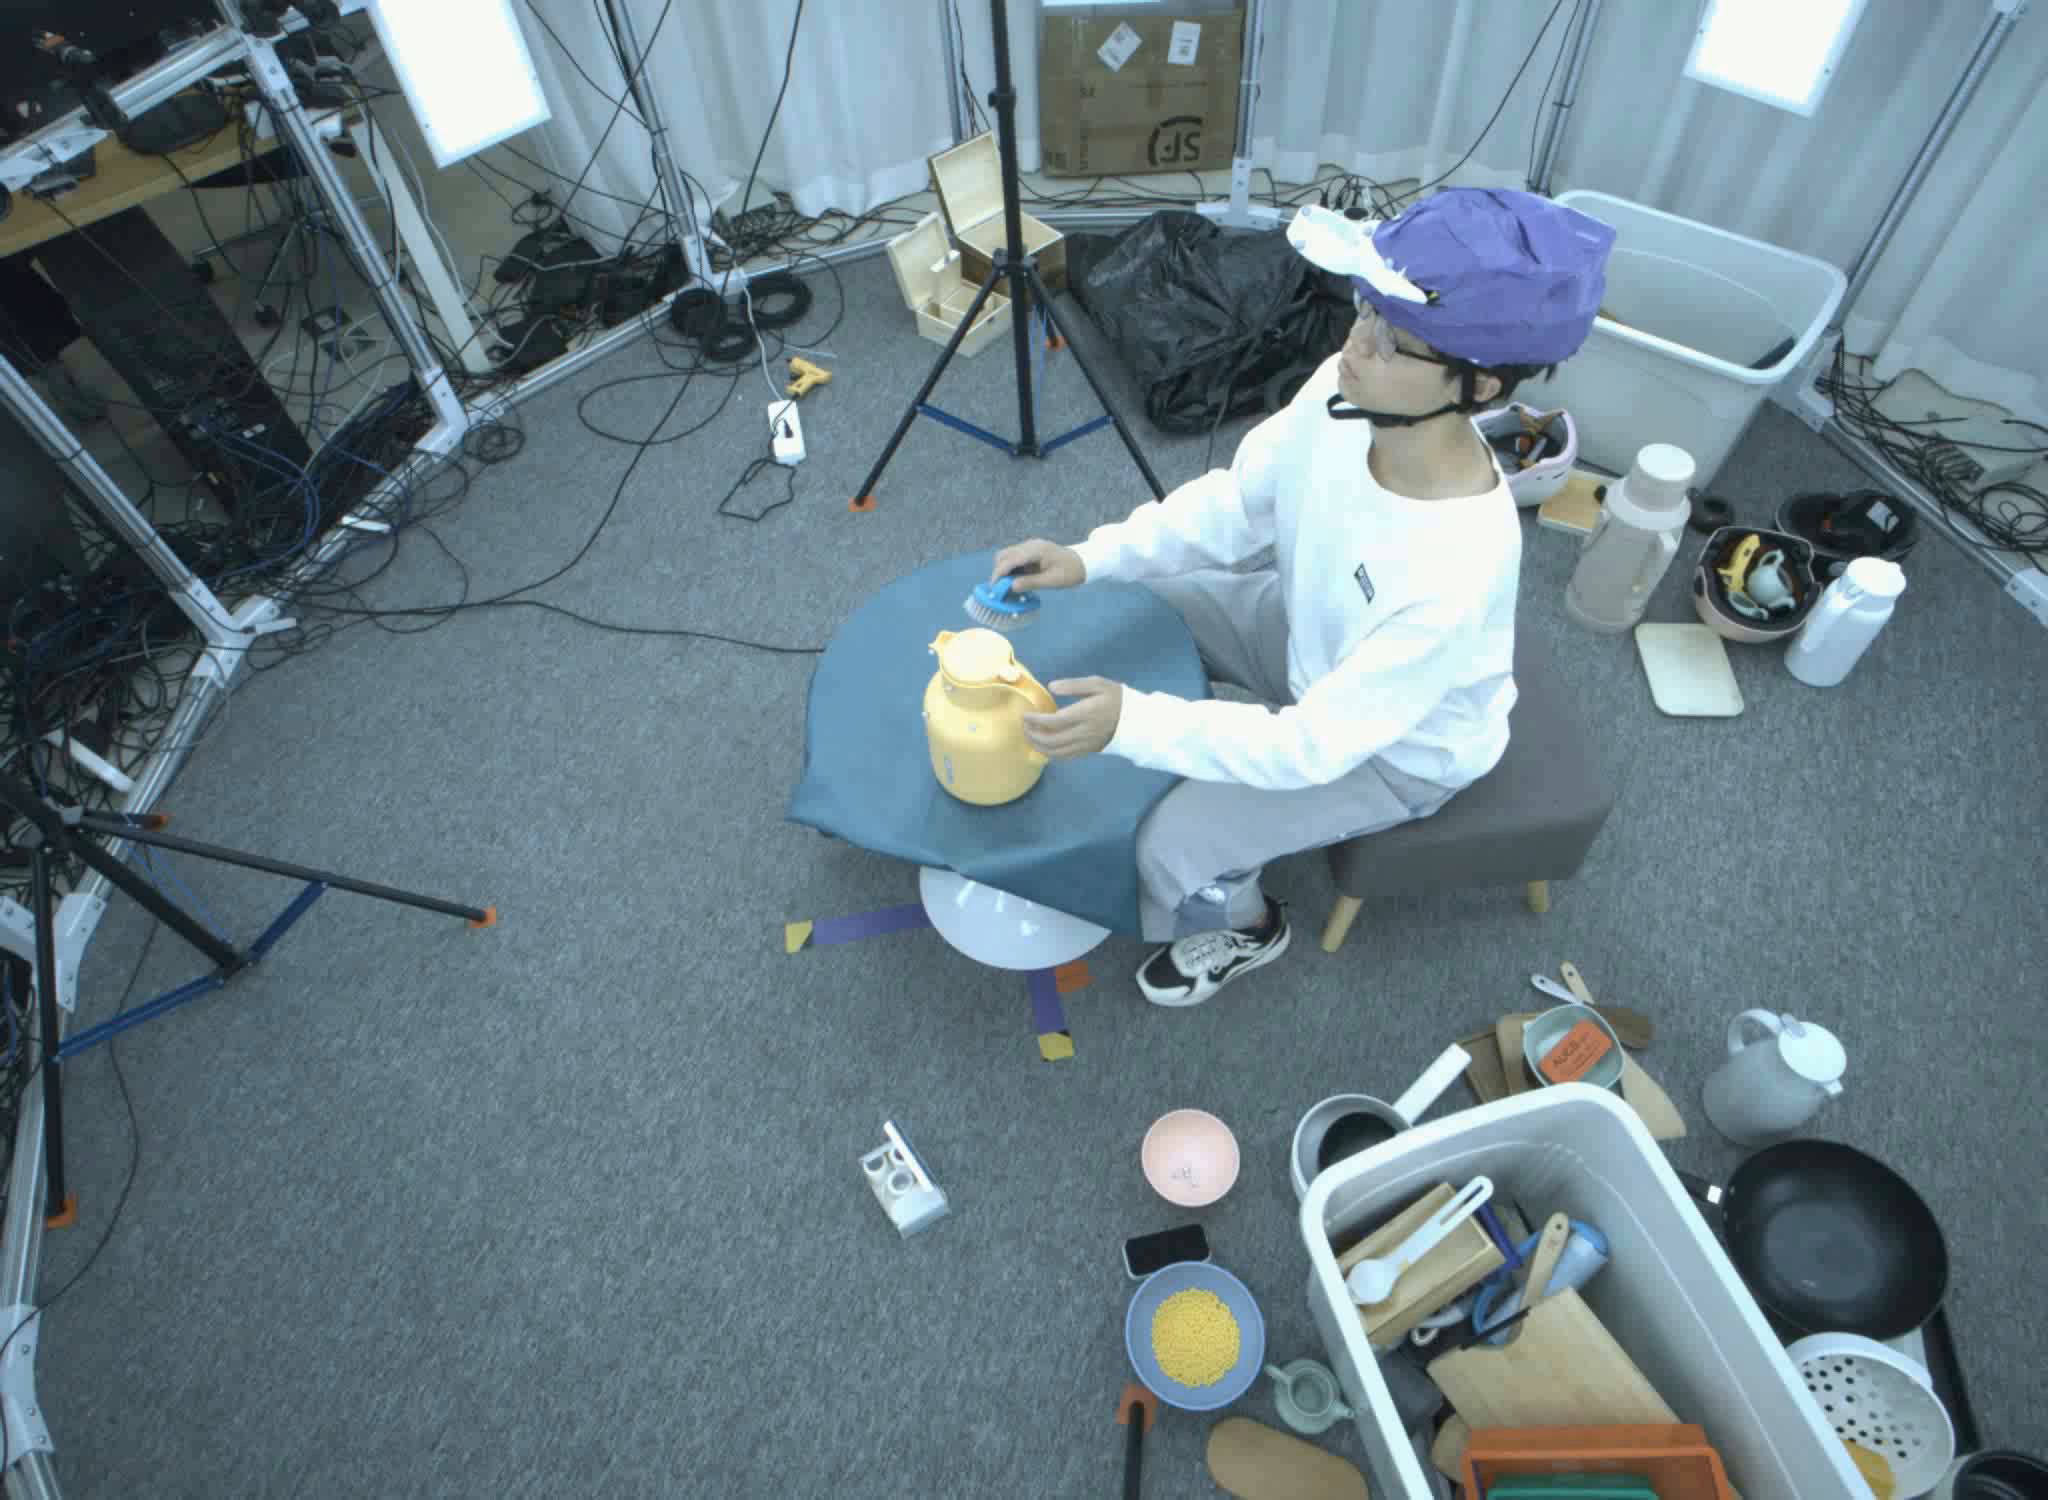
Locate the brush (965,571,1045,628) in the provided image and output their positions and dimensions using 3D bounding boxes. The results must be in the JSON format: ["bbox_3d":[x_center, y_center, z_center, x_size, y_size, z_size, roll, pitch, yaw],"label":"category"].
[{"bbox_3d":[-0.023,-0.224,1.763,0.083,0.064,0.144,33,26,19],"label":"brush"}]

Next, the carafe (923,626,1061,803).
[{"bbox_3d":[-0.040,-0.043,1.656,0.199,0.263,0.164,29,63,23],"label":"carafe"}]
